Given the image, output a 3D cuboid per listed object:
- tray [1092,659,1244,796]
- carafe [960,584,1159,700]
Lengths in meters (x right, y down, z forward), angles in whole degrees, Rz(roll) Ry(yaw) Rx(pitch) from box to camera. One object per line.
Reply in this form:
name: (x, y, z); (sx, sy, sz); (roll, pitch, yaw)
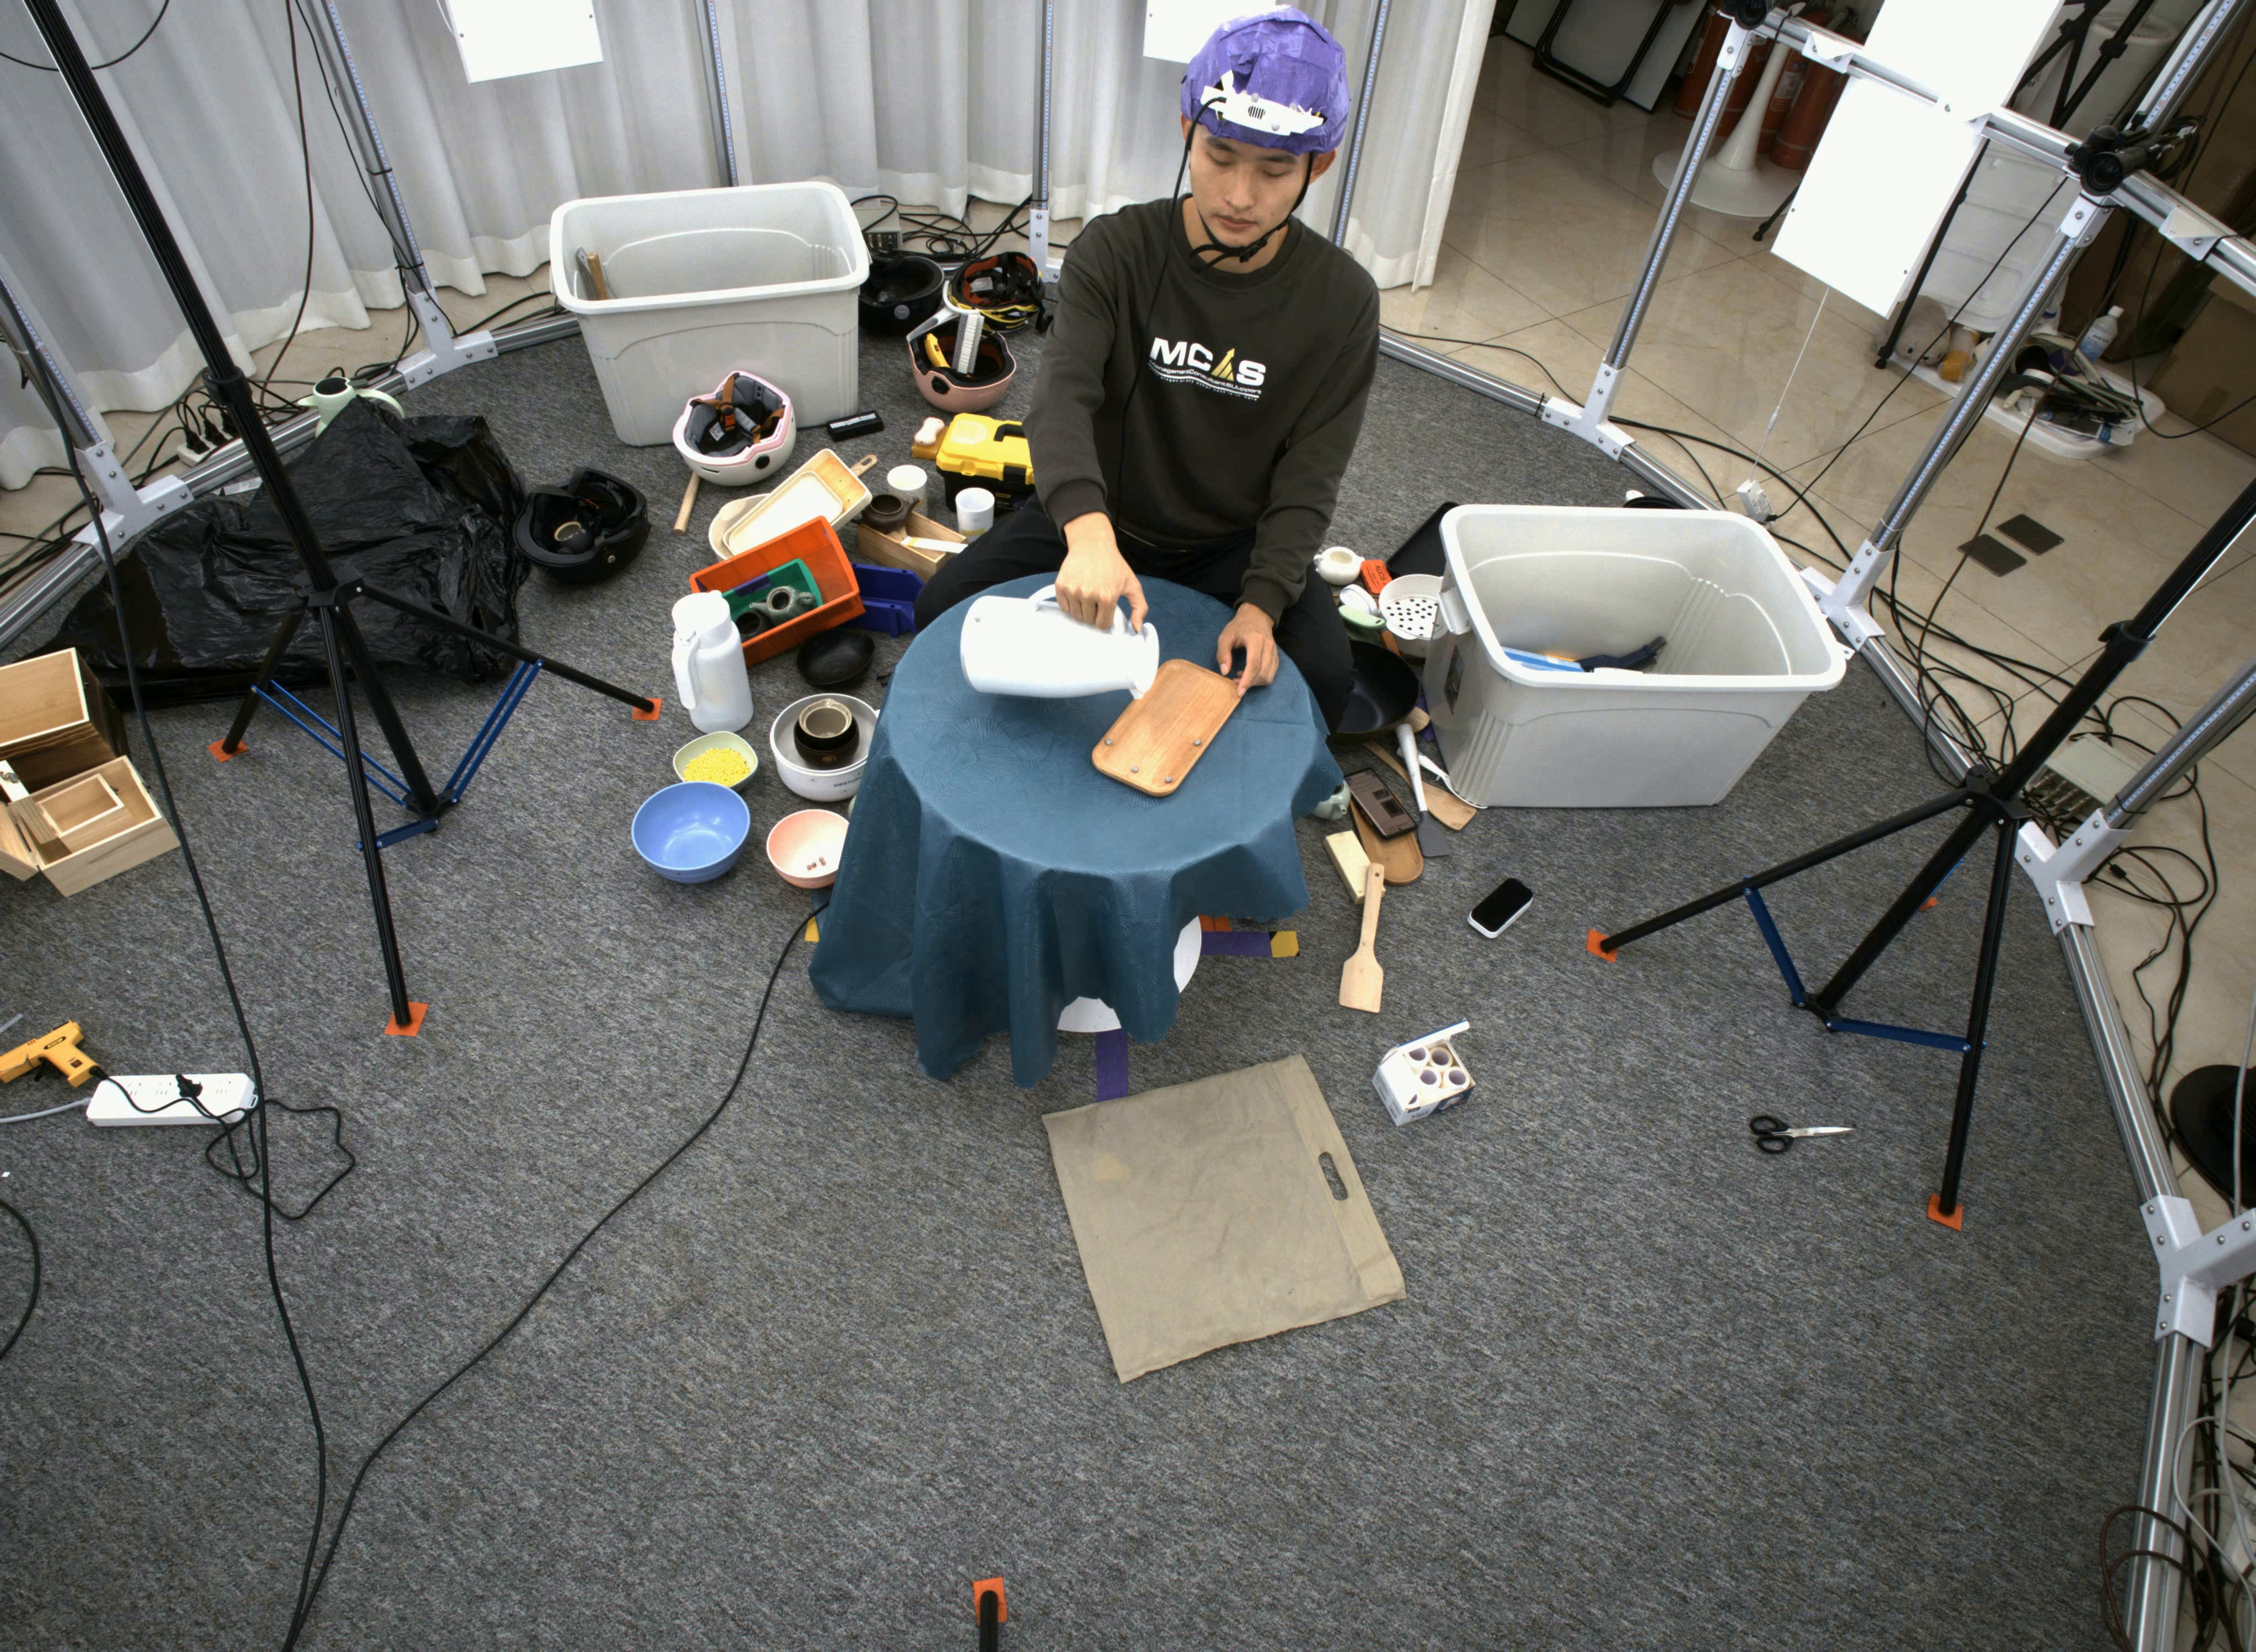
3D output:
tray: (0.058, -0.140, 1.780); (0.131, 0.022, 0.254); (27, 51, 15)
carafe: (-0.087, -0.246, 1.702); (0.250, 0.163, 0.135); (8, 45, 23)
